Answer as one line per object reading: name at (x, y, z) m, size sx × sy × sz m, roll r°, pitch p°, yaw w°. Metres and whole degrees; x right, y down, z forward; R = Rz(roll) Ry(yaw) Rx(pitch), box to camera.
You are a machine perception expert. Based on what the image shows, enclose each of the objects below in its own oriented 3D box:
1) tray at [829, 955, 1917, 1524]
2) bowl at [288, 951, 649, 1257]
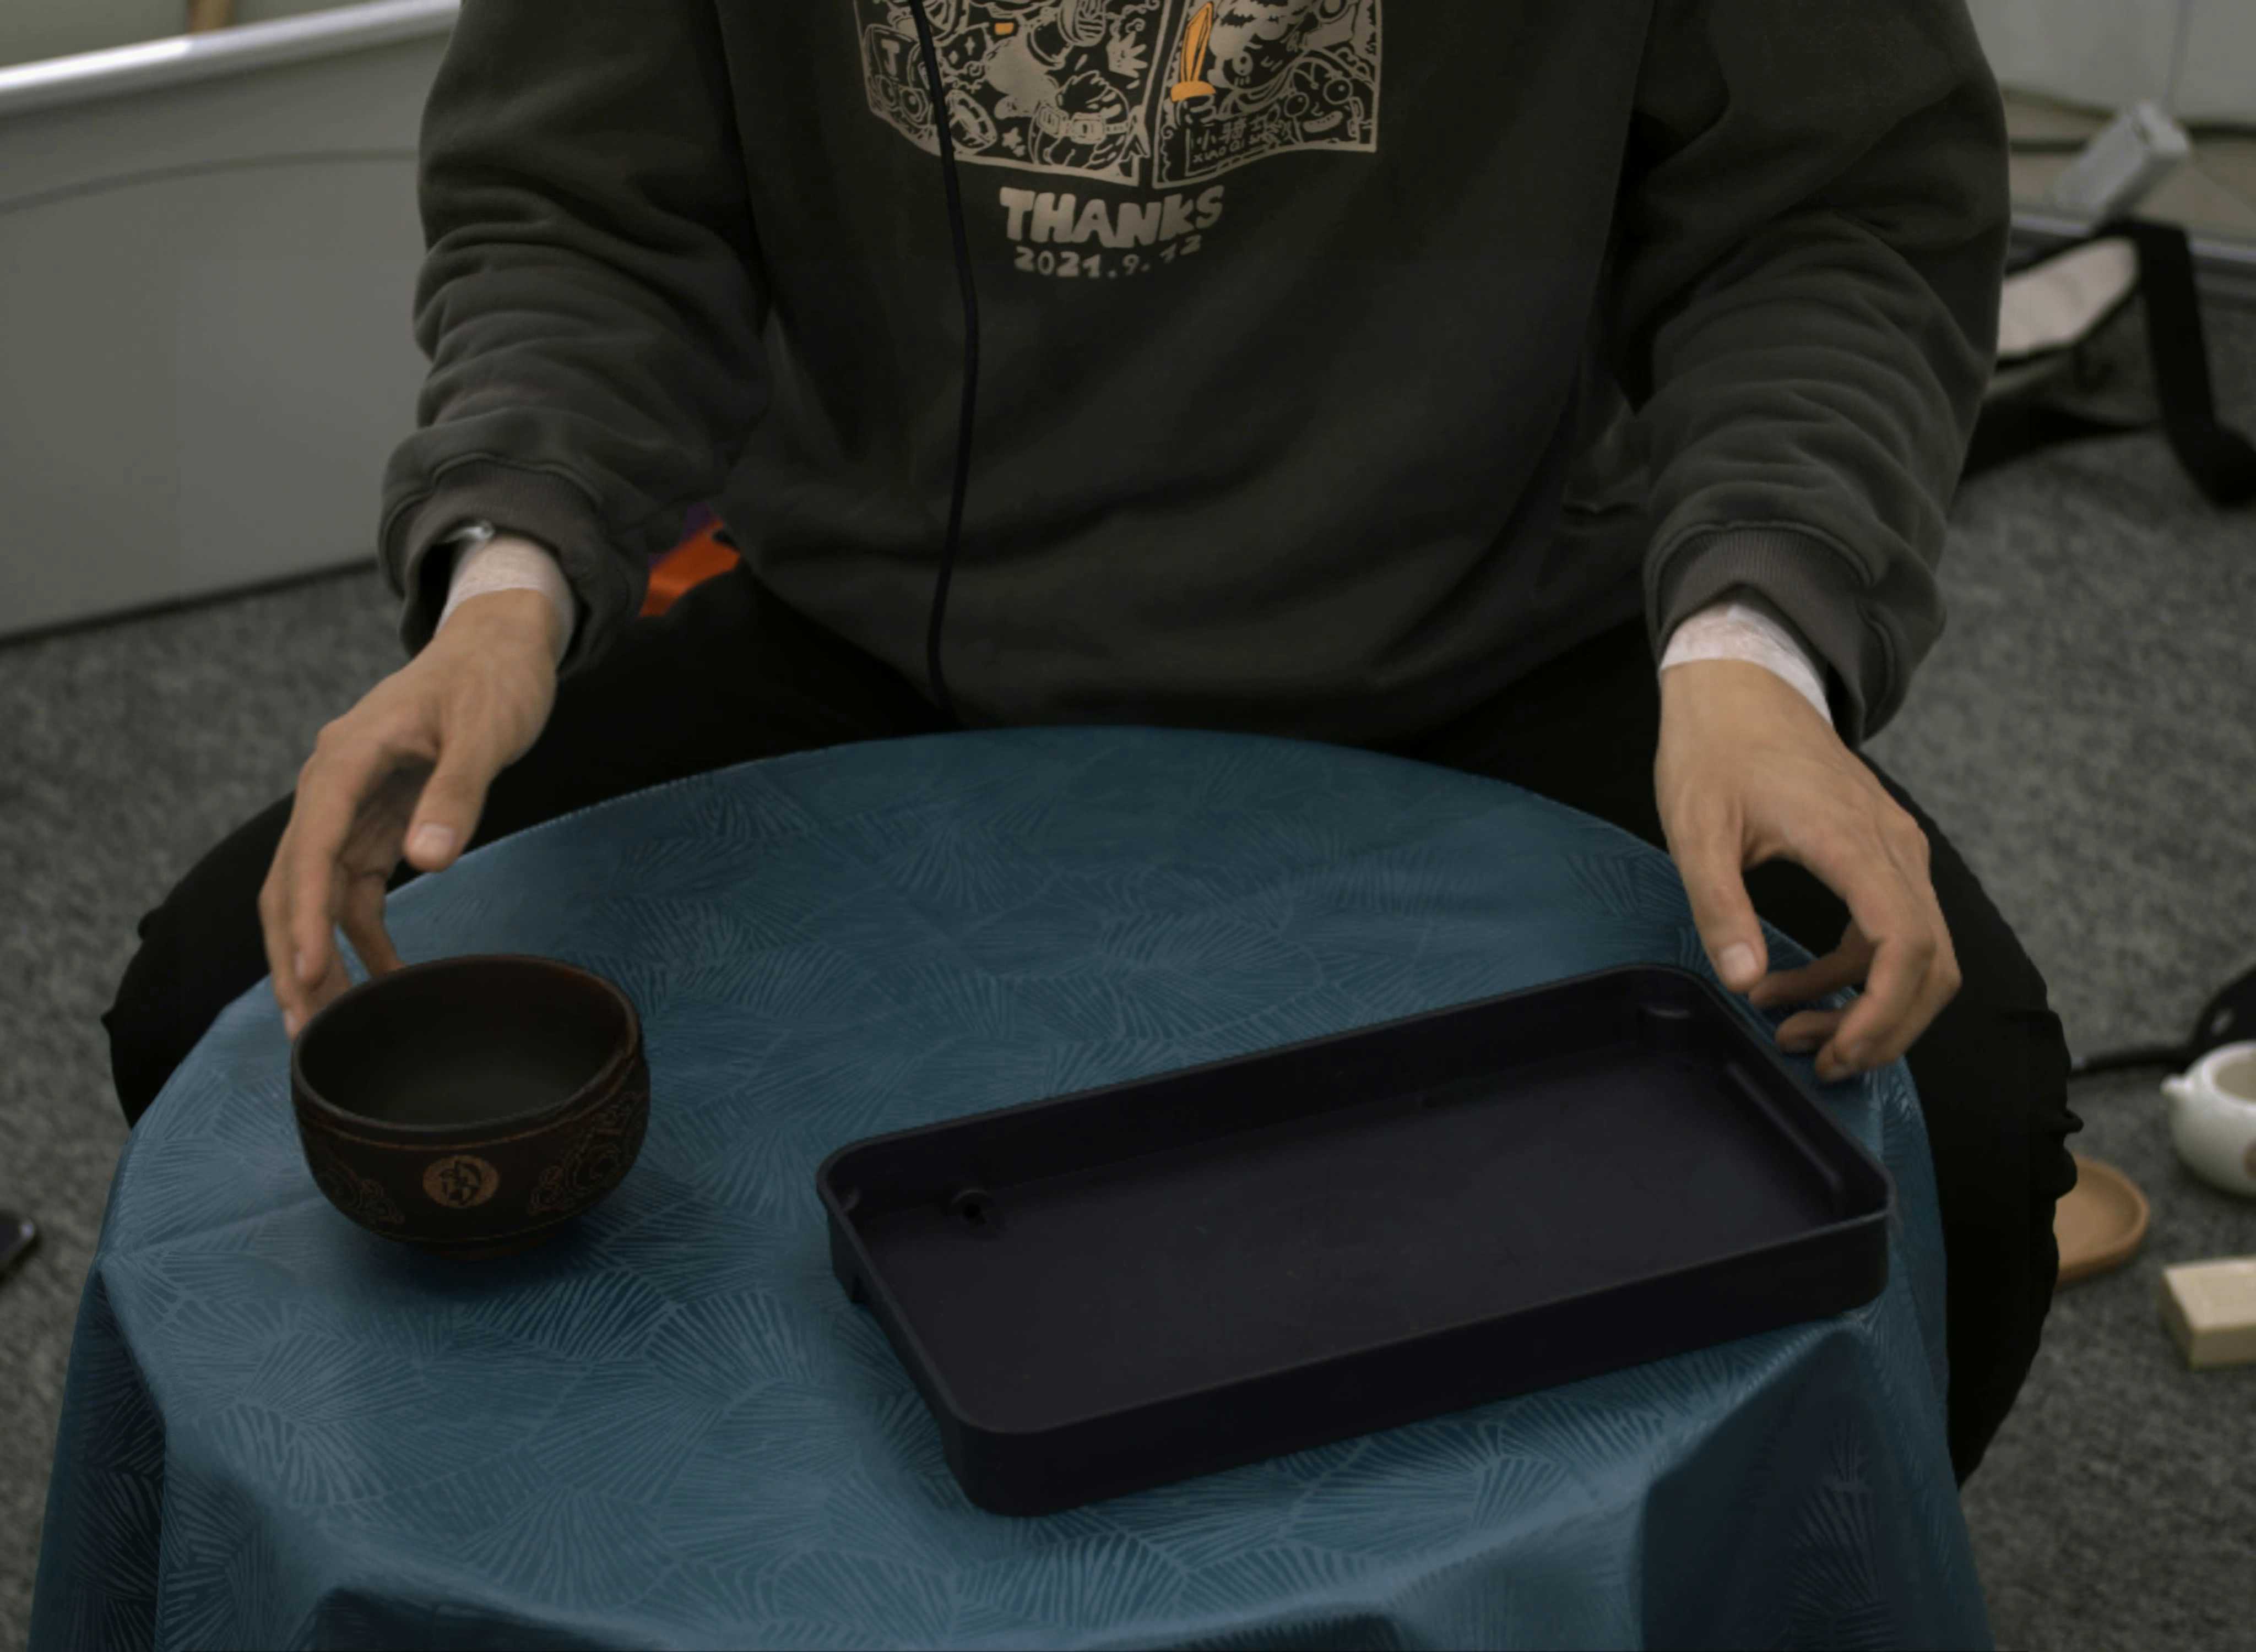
tray at (0.077, 0.128, 1.804) m, size 0.319 × 0.036 × 0.185 m, roll -13°, pitch 29°, yaw -18°
bowl at (-0.215, 0.099, 1.849) m, size 0.117 × 0.069 × 0.120 m, roll -3°, pitch 26°, yaw 2°
